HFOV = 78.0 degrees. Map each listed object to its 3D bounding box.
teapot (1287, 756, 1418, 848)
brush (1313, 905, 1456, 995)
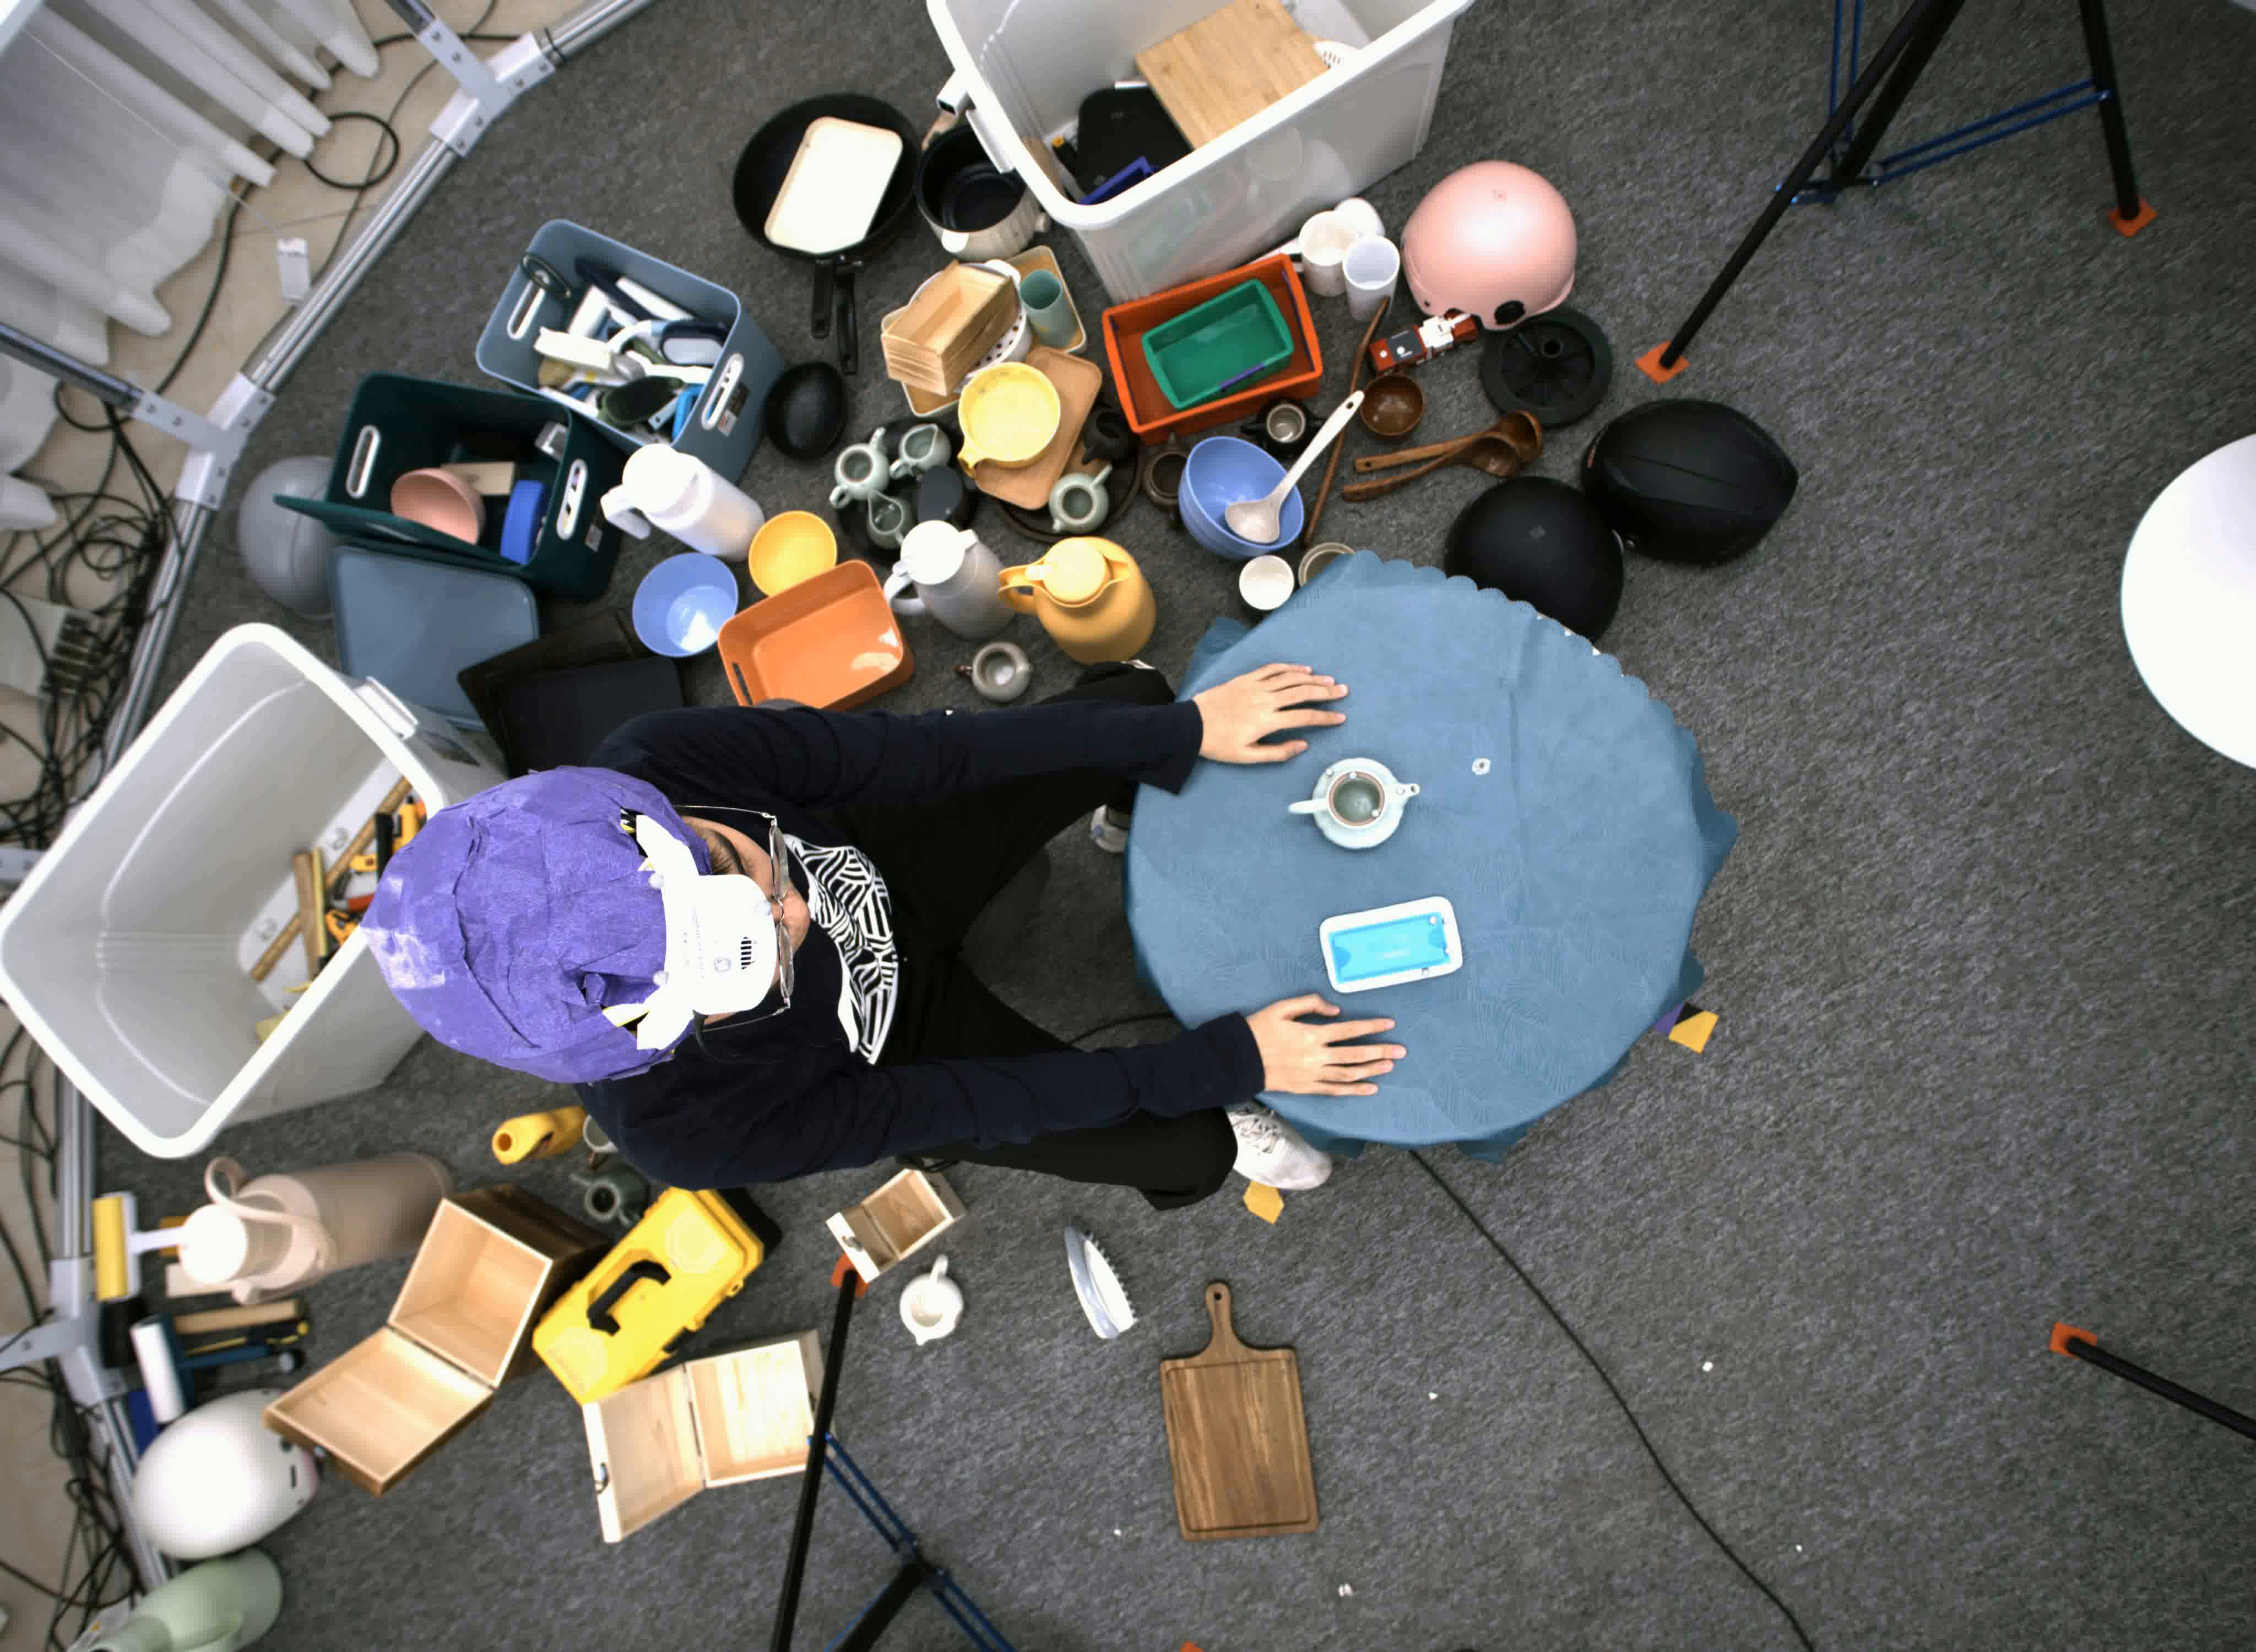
[{"bbox_3d":[0.234,-0.027,1.440,0.137,0.061,0.096,-10,87,9],"label":"teapot"},{"bbox_3d":[0.265,0.124,1.426,0.144,0.056,0.083,-9,82,7],"label":"brush"}]
